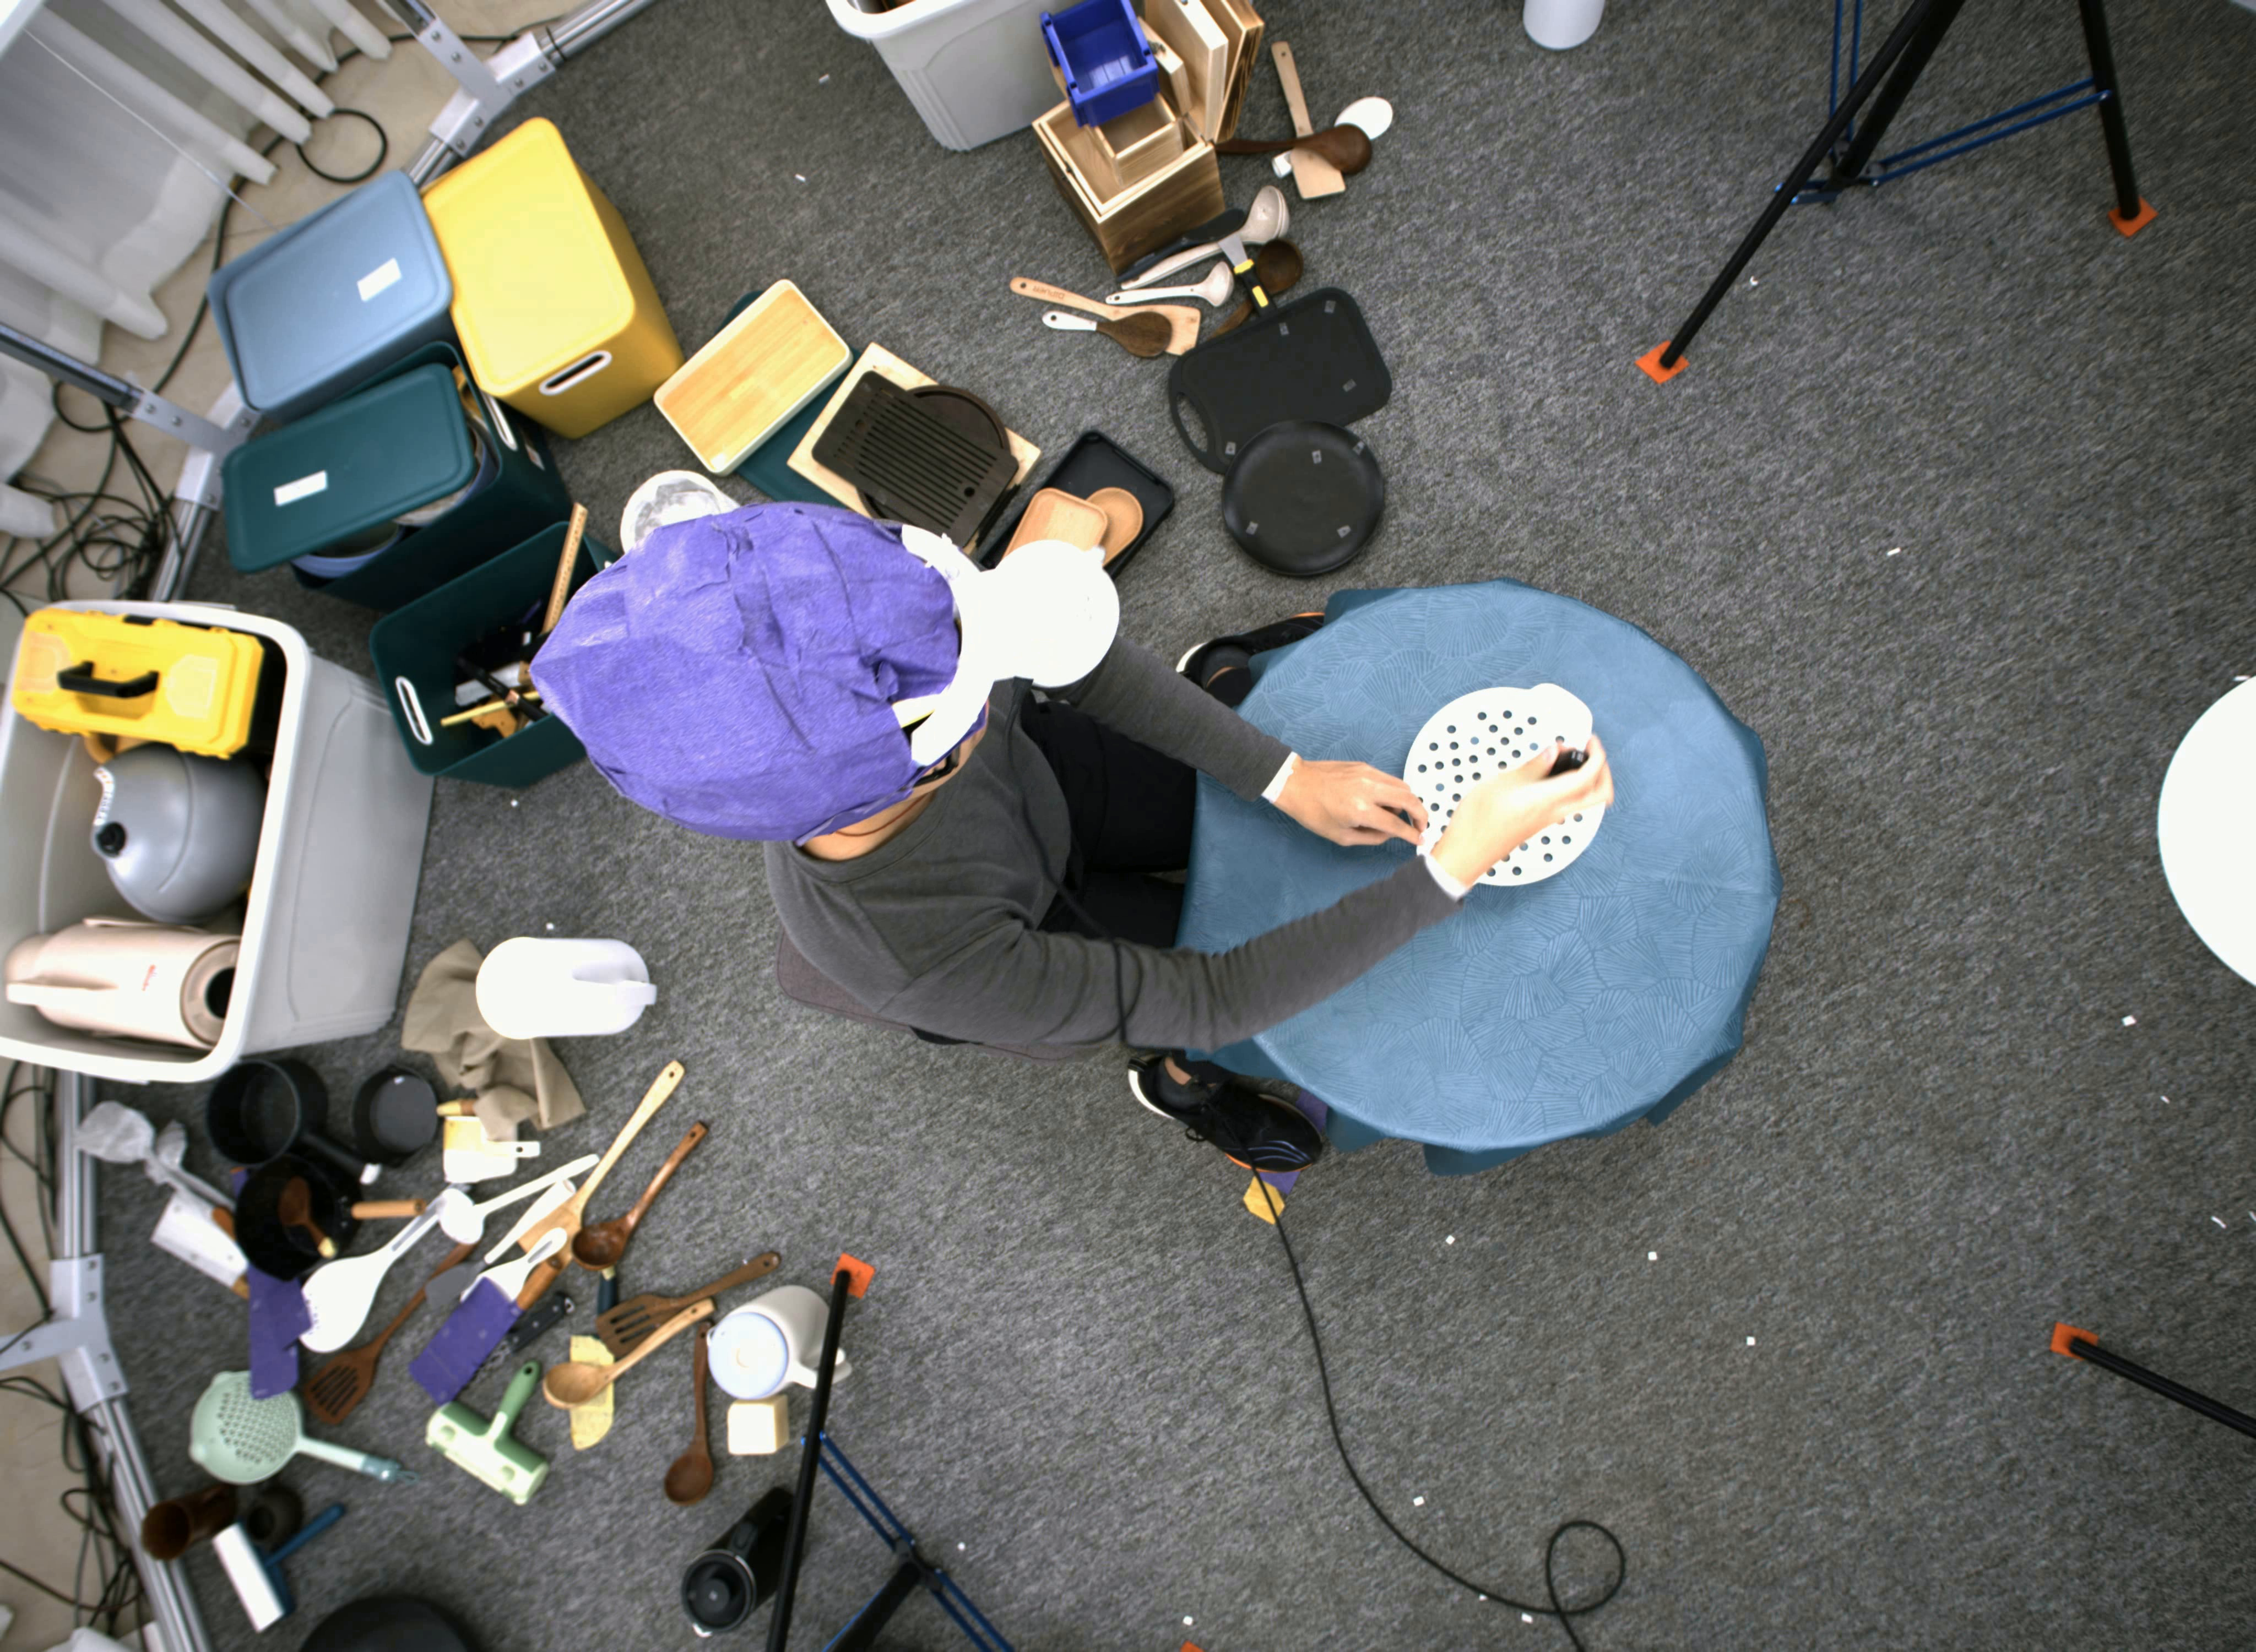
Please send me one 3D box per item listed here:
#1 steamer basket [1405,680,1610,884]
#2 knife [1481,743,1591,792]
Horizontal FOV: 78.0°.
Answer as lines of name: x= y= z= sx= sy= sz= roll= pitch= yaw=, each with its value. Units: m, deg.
steamer basket: x=0.387 y=-0.044 z=1.410 sx=0.201 sy=0.069 sz=0.231 roll=38 pitch=95 yaw=11
knife: x=0.353 y=-0.049 z=1.216 sx=0.024 sy=0.239 sz=0.016 roll=1 pitch=83 yaw=-5
